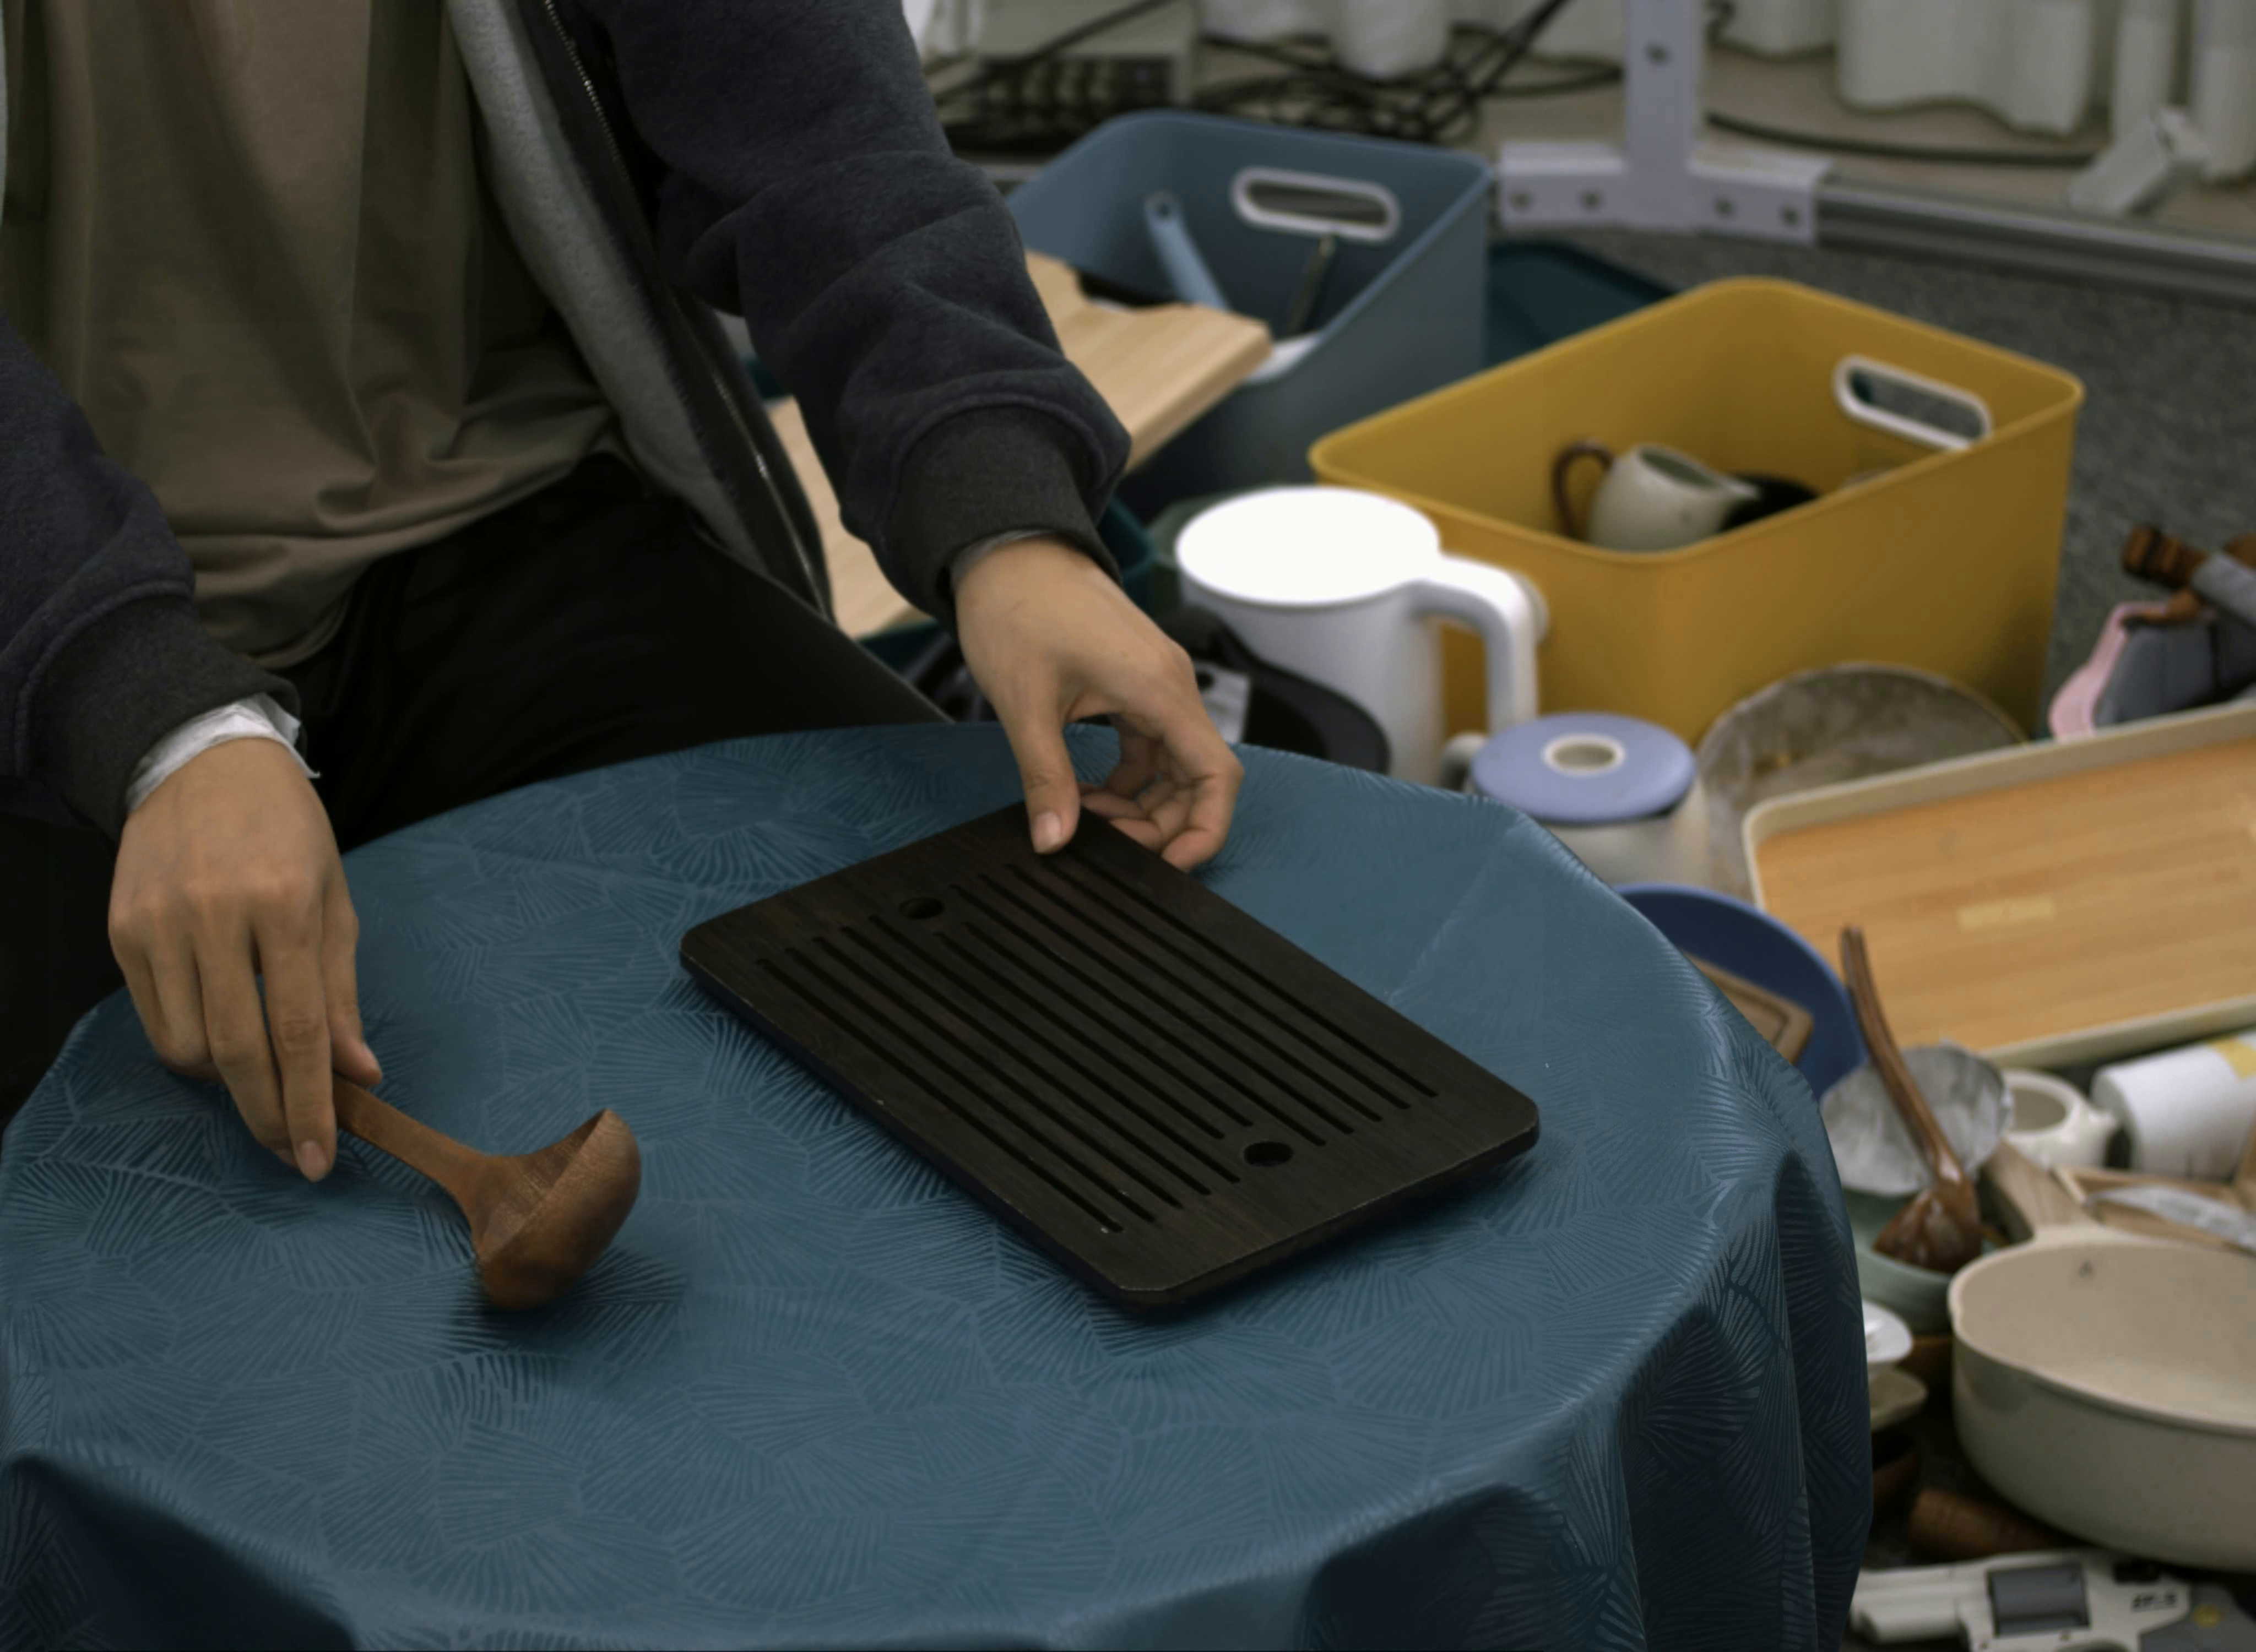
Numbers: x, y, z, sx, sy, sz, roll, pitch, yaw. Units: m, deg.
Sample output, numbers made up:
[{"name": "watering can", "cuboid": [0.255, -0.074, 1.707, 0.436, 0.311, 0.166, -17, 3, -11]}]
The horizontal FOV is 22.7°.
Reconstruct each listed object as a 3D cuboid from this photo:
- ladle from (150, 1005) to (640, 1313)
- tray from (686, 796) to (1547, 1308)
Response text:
[{"name": "ladle", "cuboid": [-0.256, 0.096, 1.871, 0.260, 0.064, 0.077, 23, 64, 40]}, {"name": "tray", "cuboid": [-0.009, 0.074, 1.933, 0.171, 0.018, 0.307, -20, 32, -28]}]
